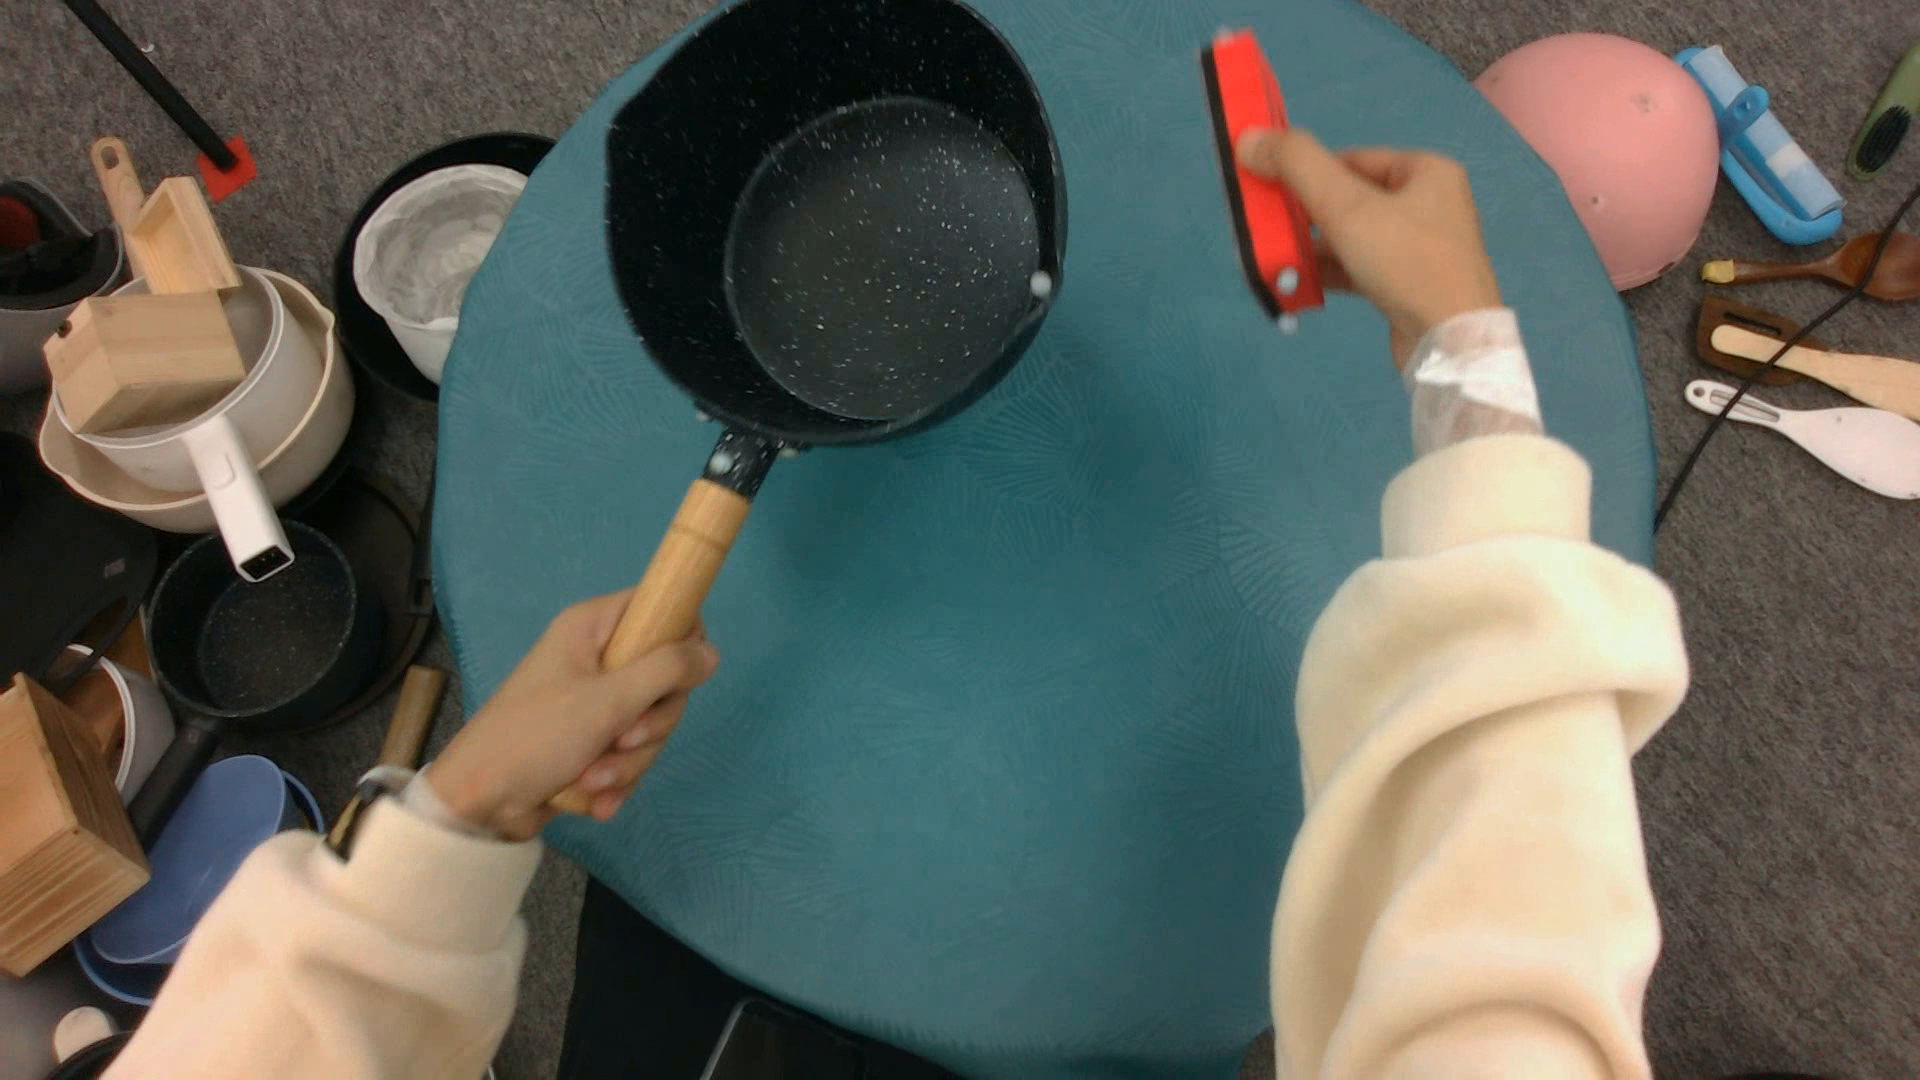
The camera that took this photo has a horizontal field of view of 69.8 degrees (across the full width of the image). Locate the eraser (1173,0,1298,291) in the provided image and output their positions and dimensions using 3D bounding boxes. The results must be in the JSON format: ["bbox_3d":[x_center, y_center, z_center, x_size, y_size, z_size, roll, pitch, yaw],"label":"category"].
[{"bbox_3d":[0.107,-0.155,0.532,0.023,0.059,0.108,-14,73,18],"label":"eraser"}]

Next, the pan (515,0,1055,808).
[{"bbox_3d":[-0.082,-0.055,0.555,0.207,0.108,0.342,22,91,10],"label":"pan"}]
